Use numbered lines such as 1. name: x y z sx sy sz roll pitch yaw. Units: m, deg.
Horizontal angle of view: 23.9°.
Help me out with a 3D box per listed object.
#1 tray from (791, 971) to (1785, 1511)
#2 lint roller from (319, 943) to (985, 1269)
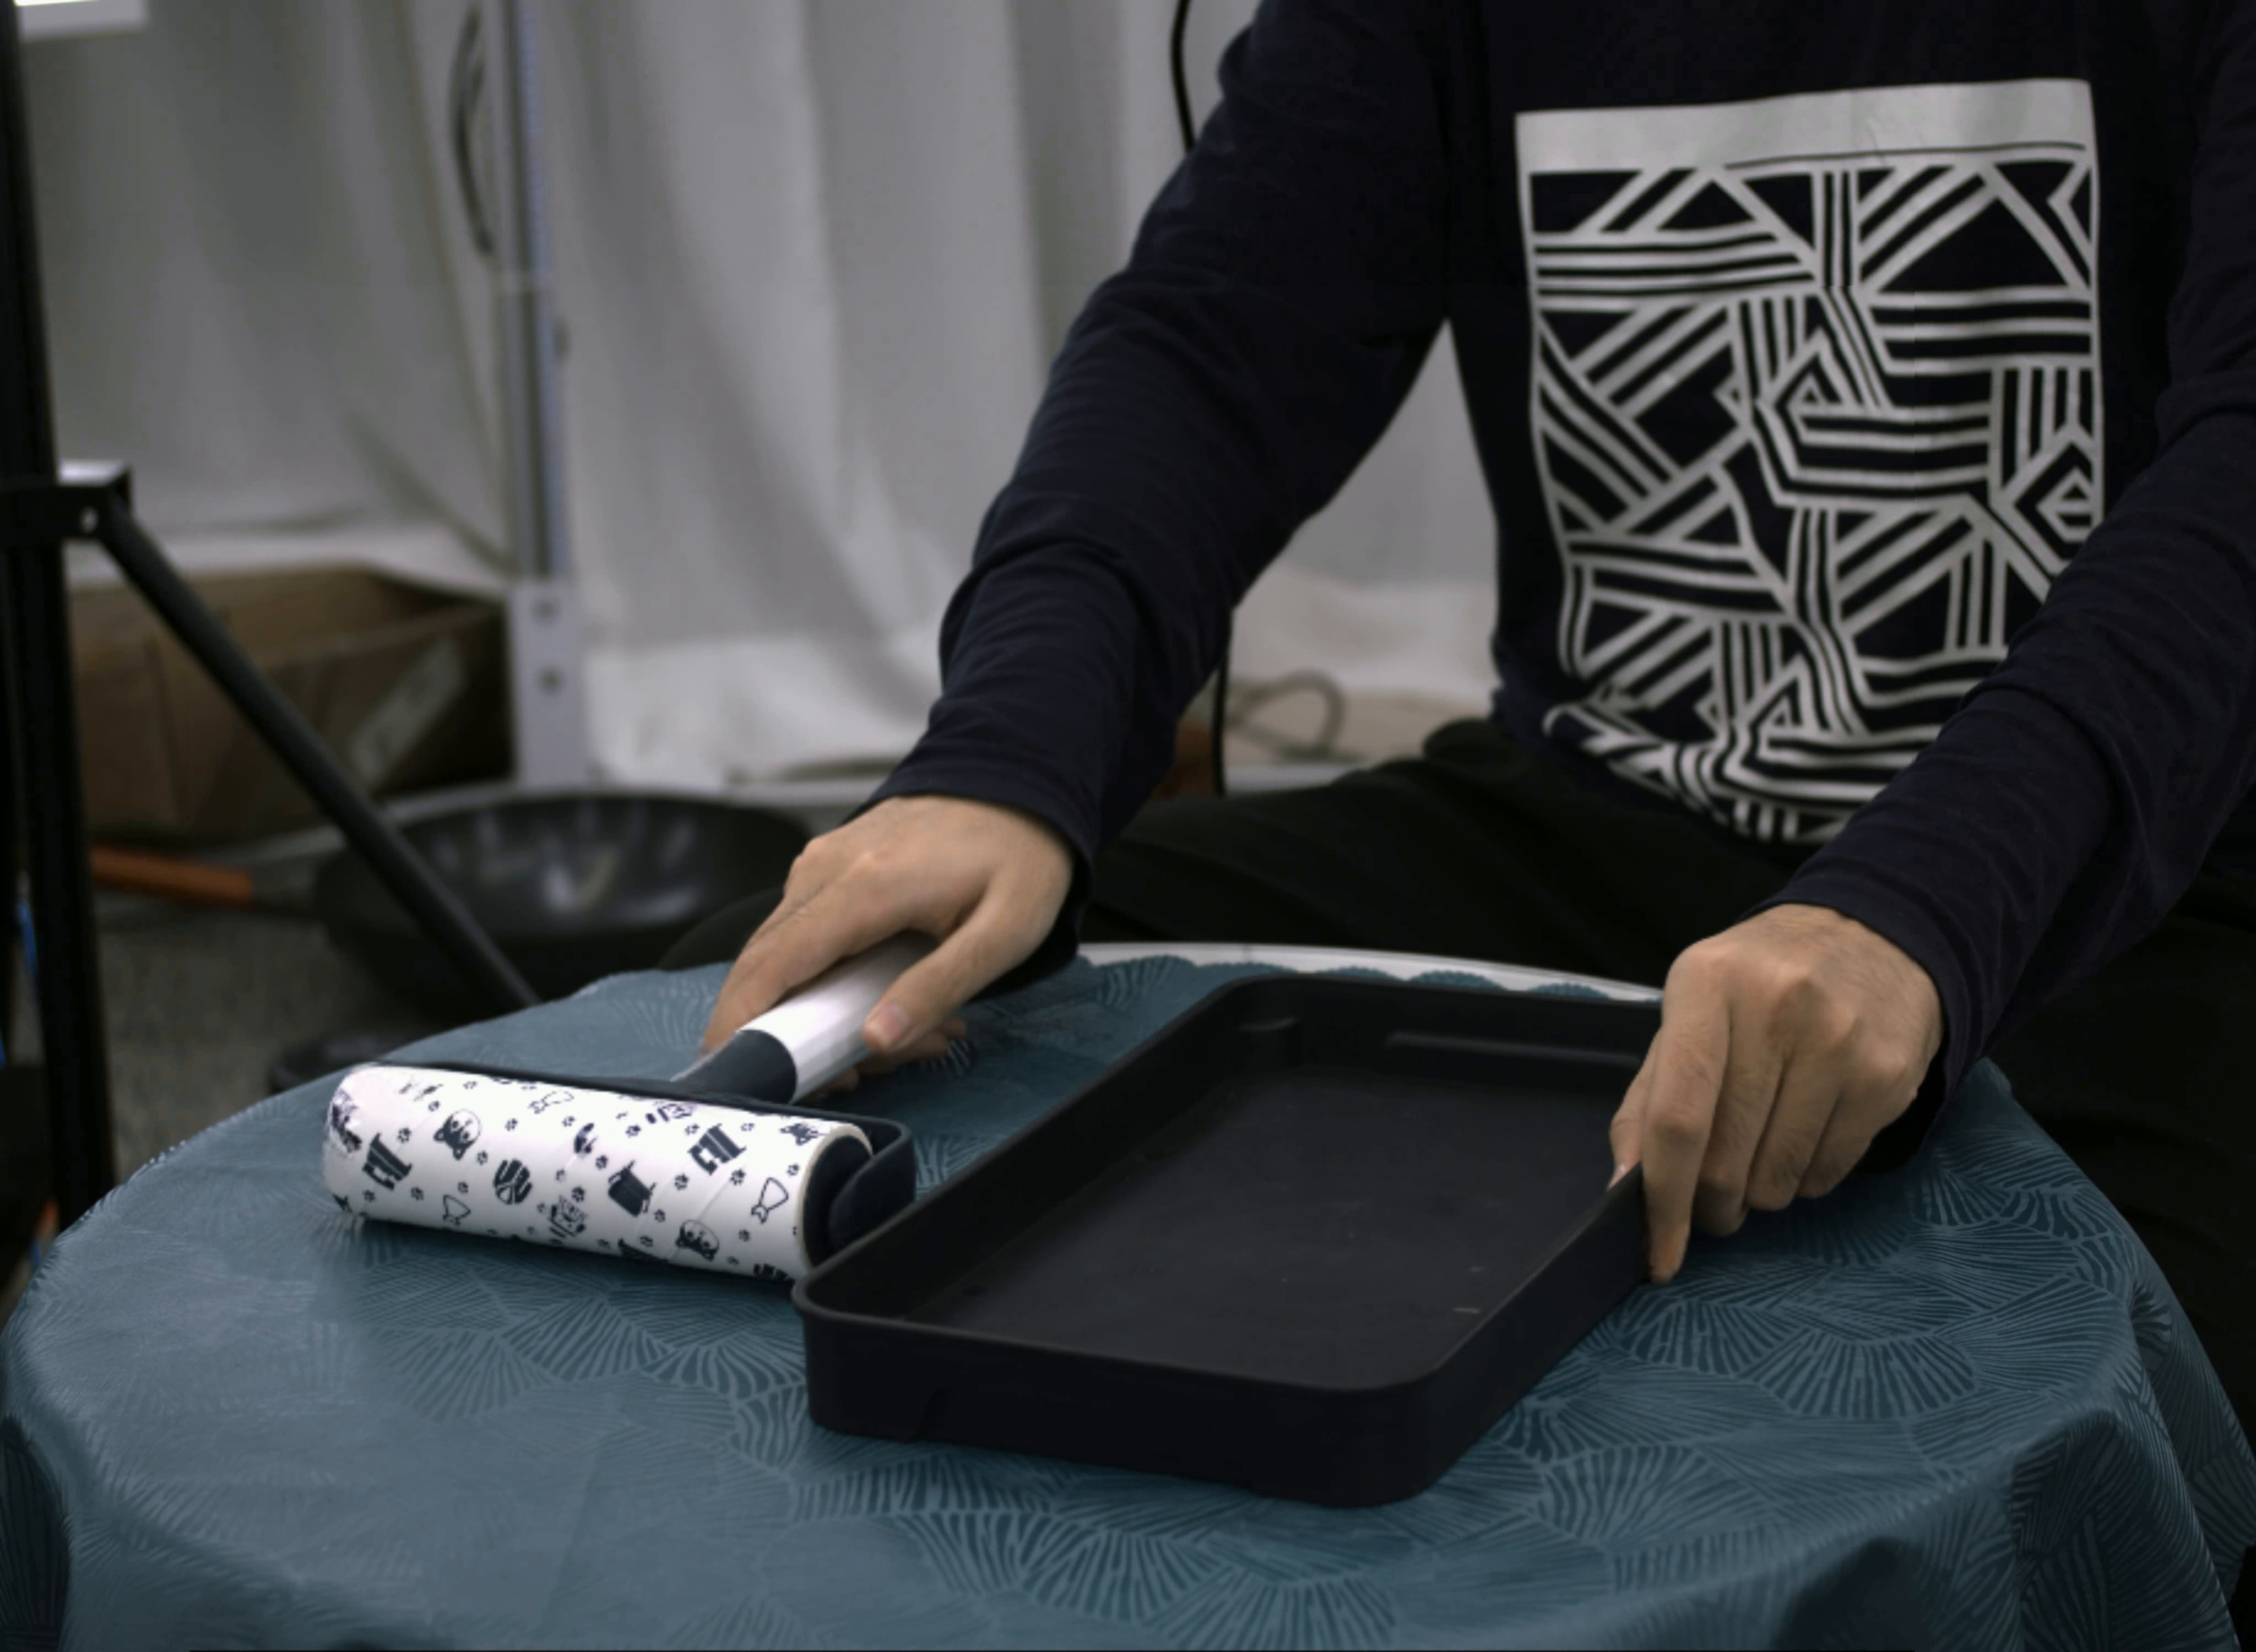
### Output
1. tray: 0.054 0.108 1.485 0.187 0.037 0.313 5 17 25
2. lint roller: -0.109 0.071 1.617 0.179 0.050 0.243 4 17 26
